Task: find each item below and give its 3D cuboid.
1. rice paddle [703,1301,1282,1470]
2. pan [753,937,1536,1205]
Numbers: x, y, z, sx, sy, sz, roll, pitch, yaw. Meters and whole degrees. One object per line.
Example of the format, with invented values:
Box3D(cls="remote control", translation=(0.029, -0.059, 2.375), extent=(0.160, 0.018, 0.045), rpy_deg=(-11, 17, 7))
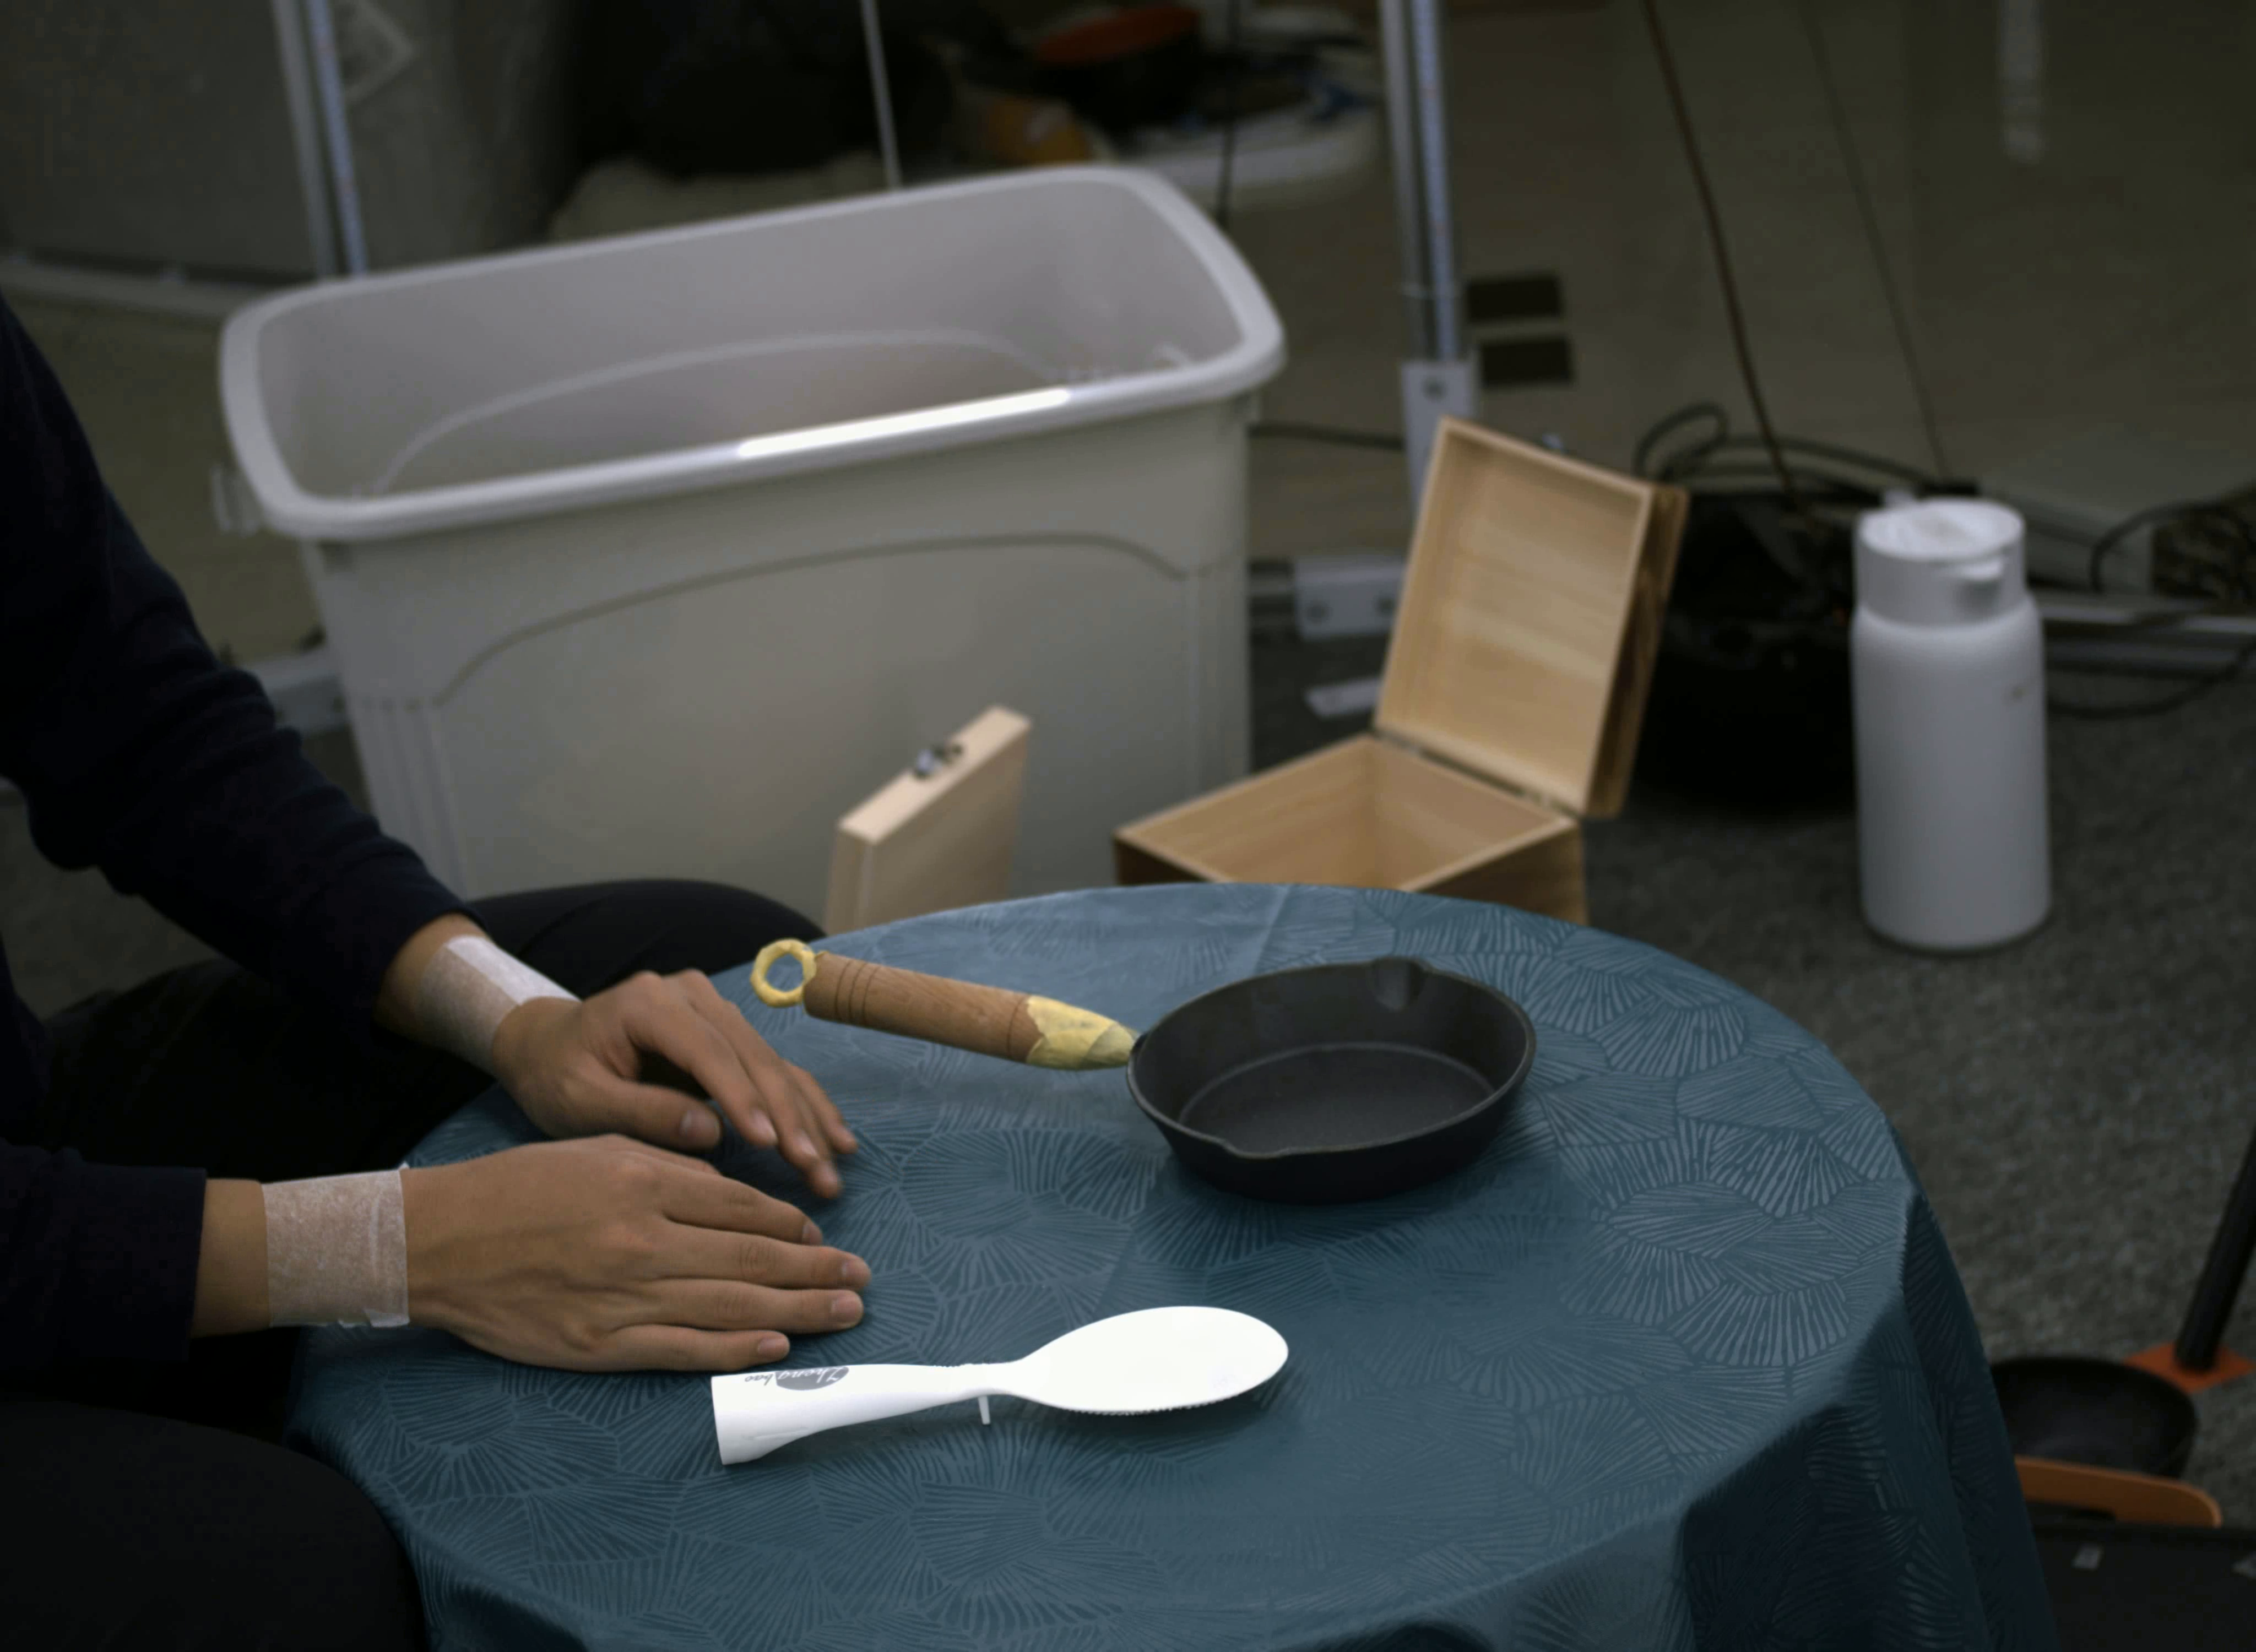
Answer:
Box3D(cls="rice paddle", translation=(-0.047, 0.195, 2.003), extent=(0.205, 0.030, 0.068), rpy_deg=(-8, 27, -3))
Box3D(cls="pan", translation=(0.002, 0.085, 2.201), extent=(0.323, 0.050, 0.167), rpy_deg=(7, 29, 24))
